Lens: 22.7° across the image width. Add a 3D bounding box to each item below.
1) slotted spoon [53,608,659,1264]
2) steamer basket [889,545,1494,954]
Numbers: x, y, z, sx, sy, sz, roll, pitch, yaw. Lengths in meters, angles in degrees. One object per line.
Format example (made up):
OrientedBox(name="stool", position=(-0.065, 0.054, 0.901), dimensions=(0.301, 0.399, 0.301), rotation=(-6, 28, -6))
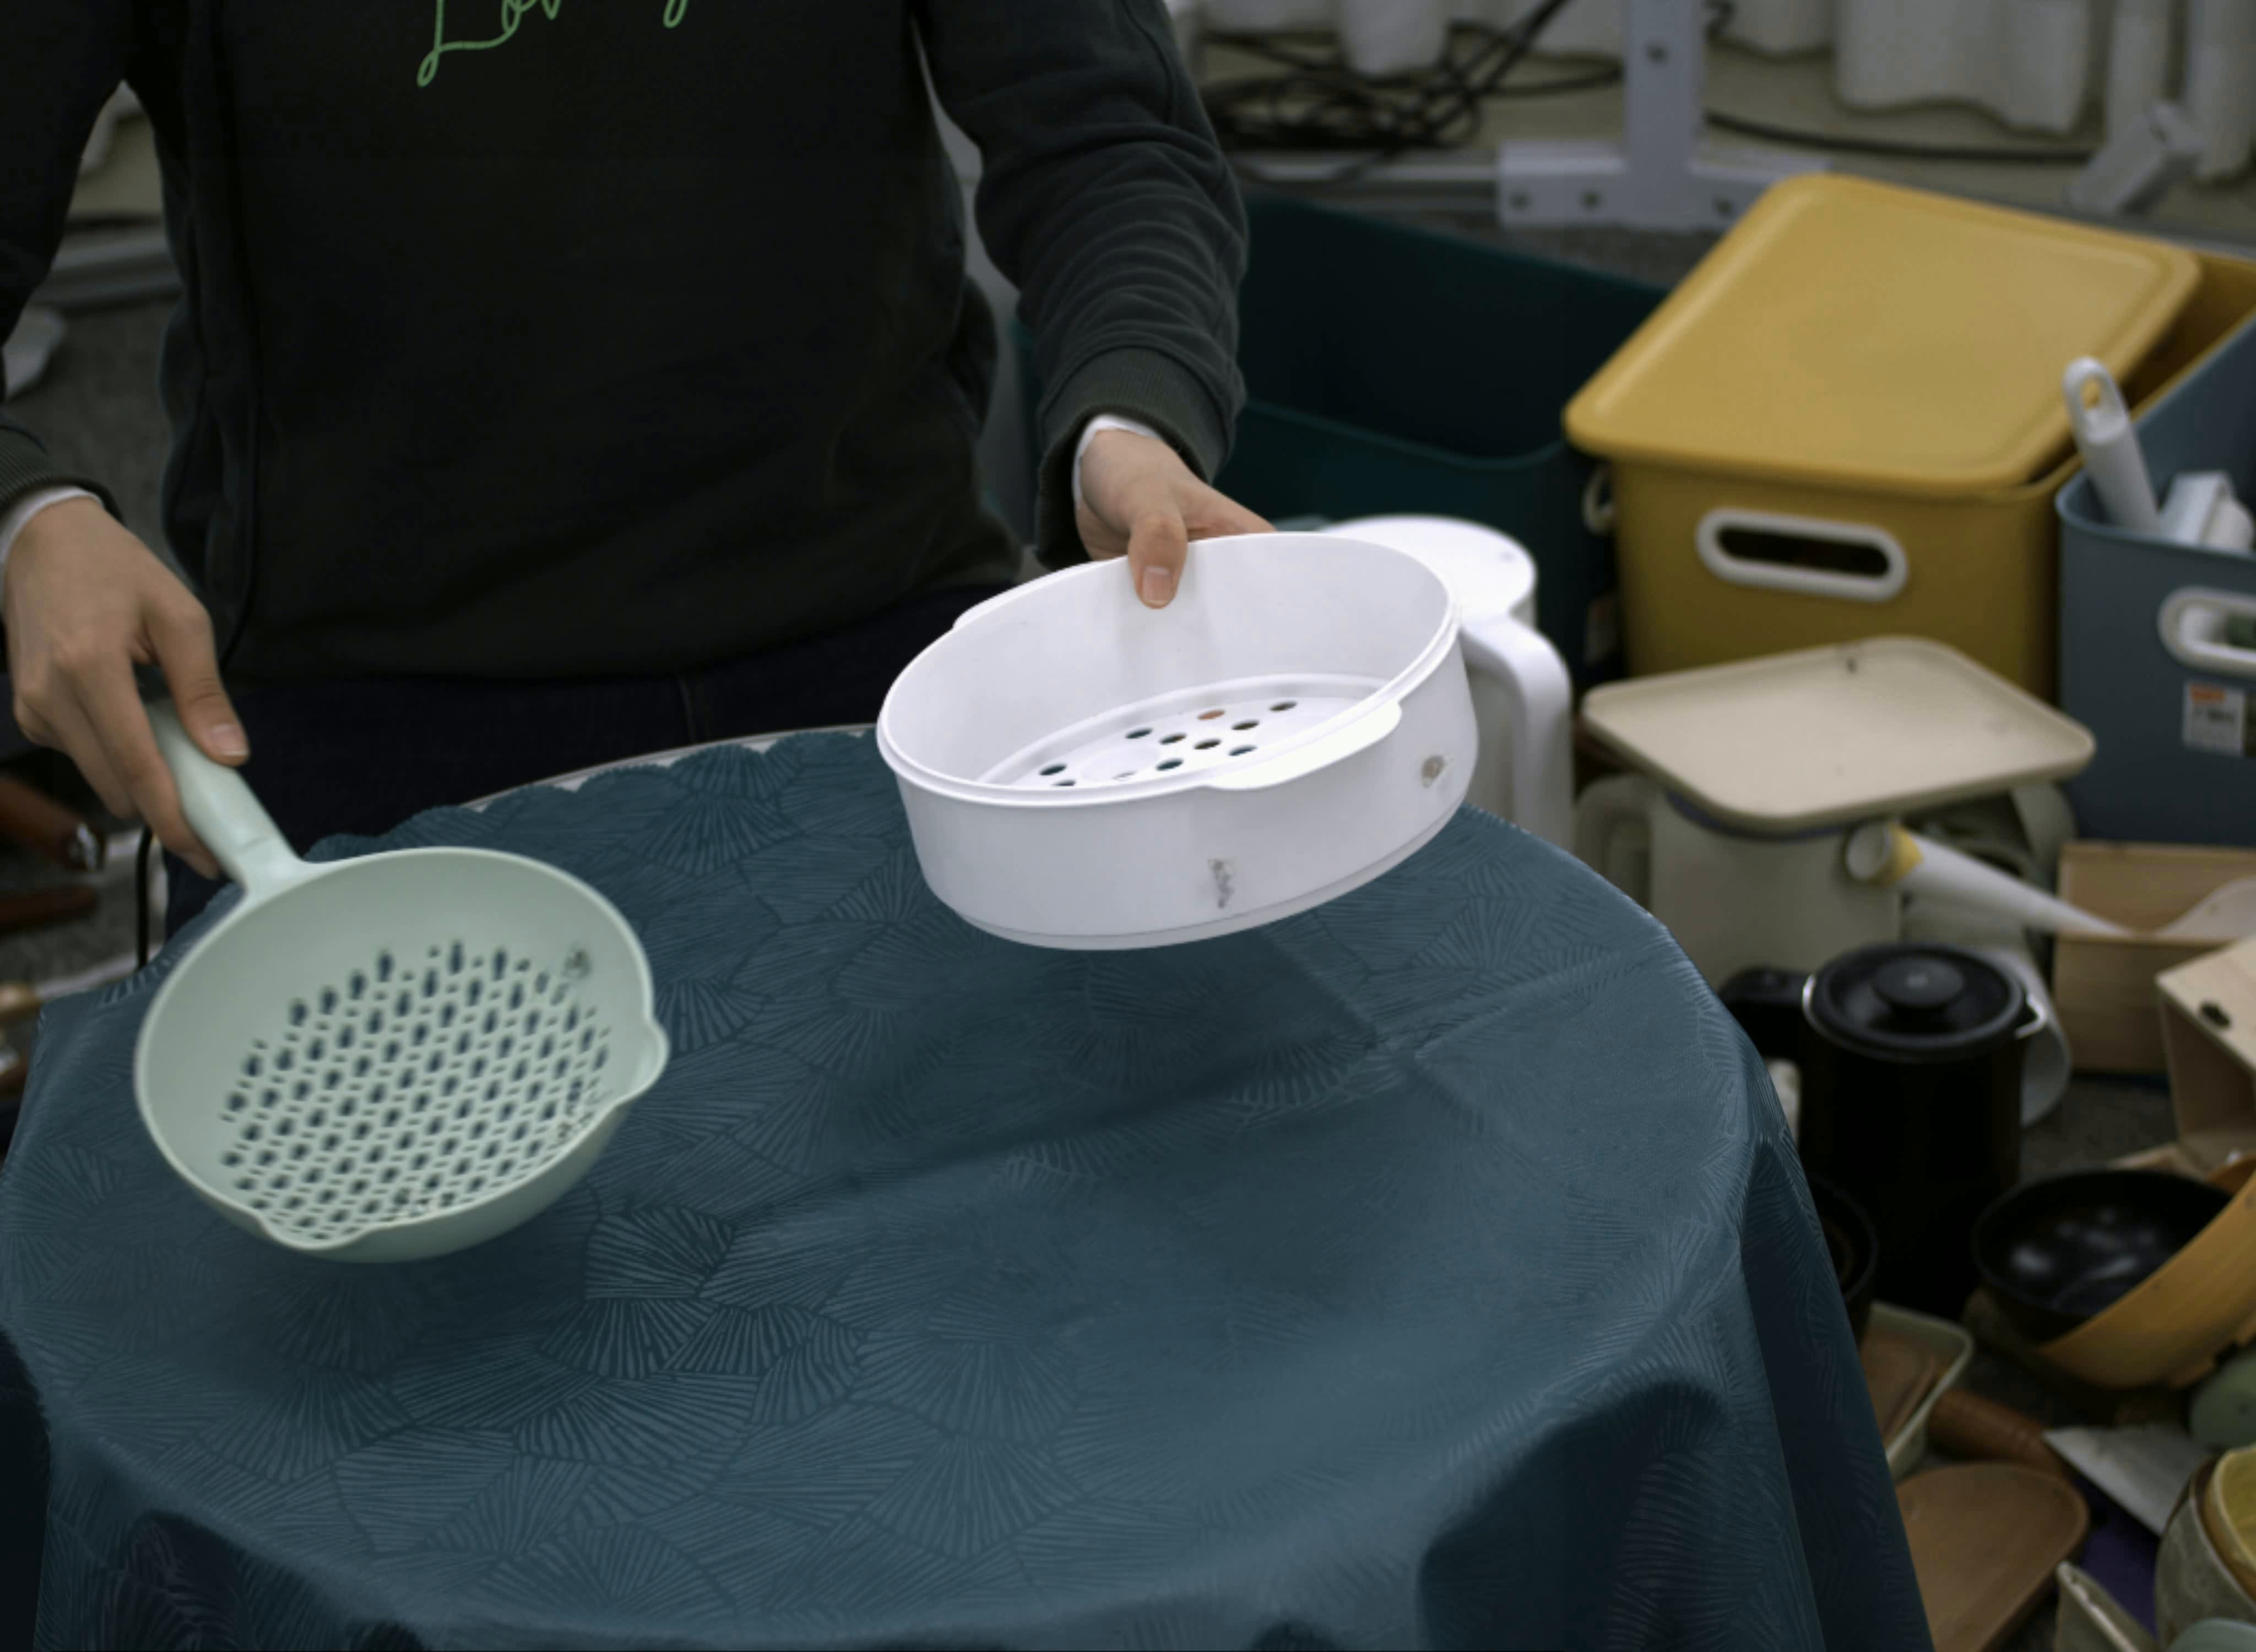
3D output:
OrientedBox(name="slotted spoon", position=(-0.289, 0.022, 1.886), dimensions=(0.170, 0.074, 0.362), rotation=(-23, 53, -20))
OrientedBox(name="steamer basket", position=(0.024, -0.025, 1.882), dimensions=(0.203, 0.069, 0.231), rotation=(-22, 24, -22))
